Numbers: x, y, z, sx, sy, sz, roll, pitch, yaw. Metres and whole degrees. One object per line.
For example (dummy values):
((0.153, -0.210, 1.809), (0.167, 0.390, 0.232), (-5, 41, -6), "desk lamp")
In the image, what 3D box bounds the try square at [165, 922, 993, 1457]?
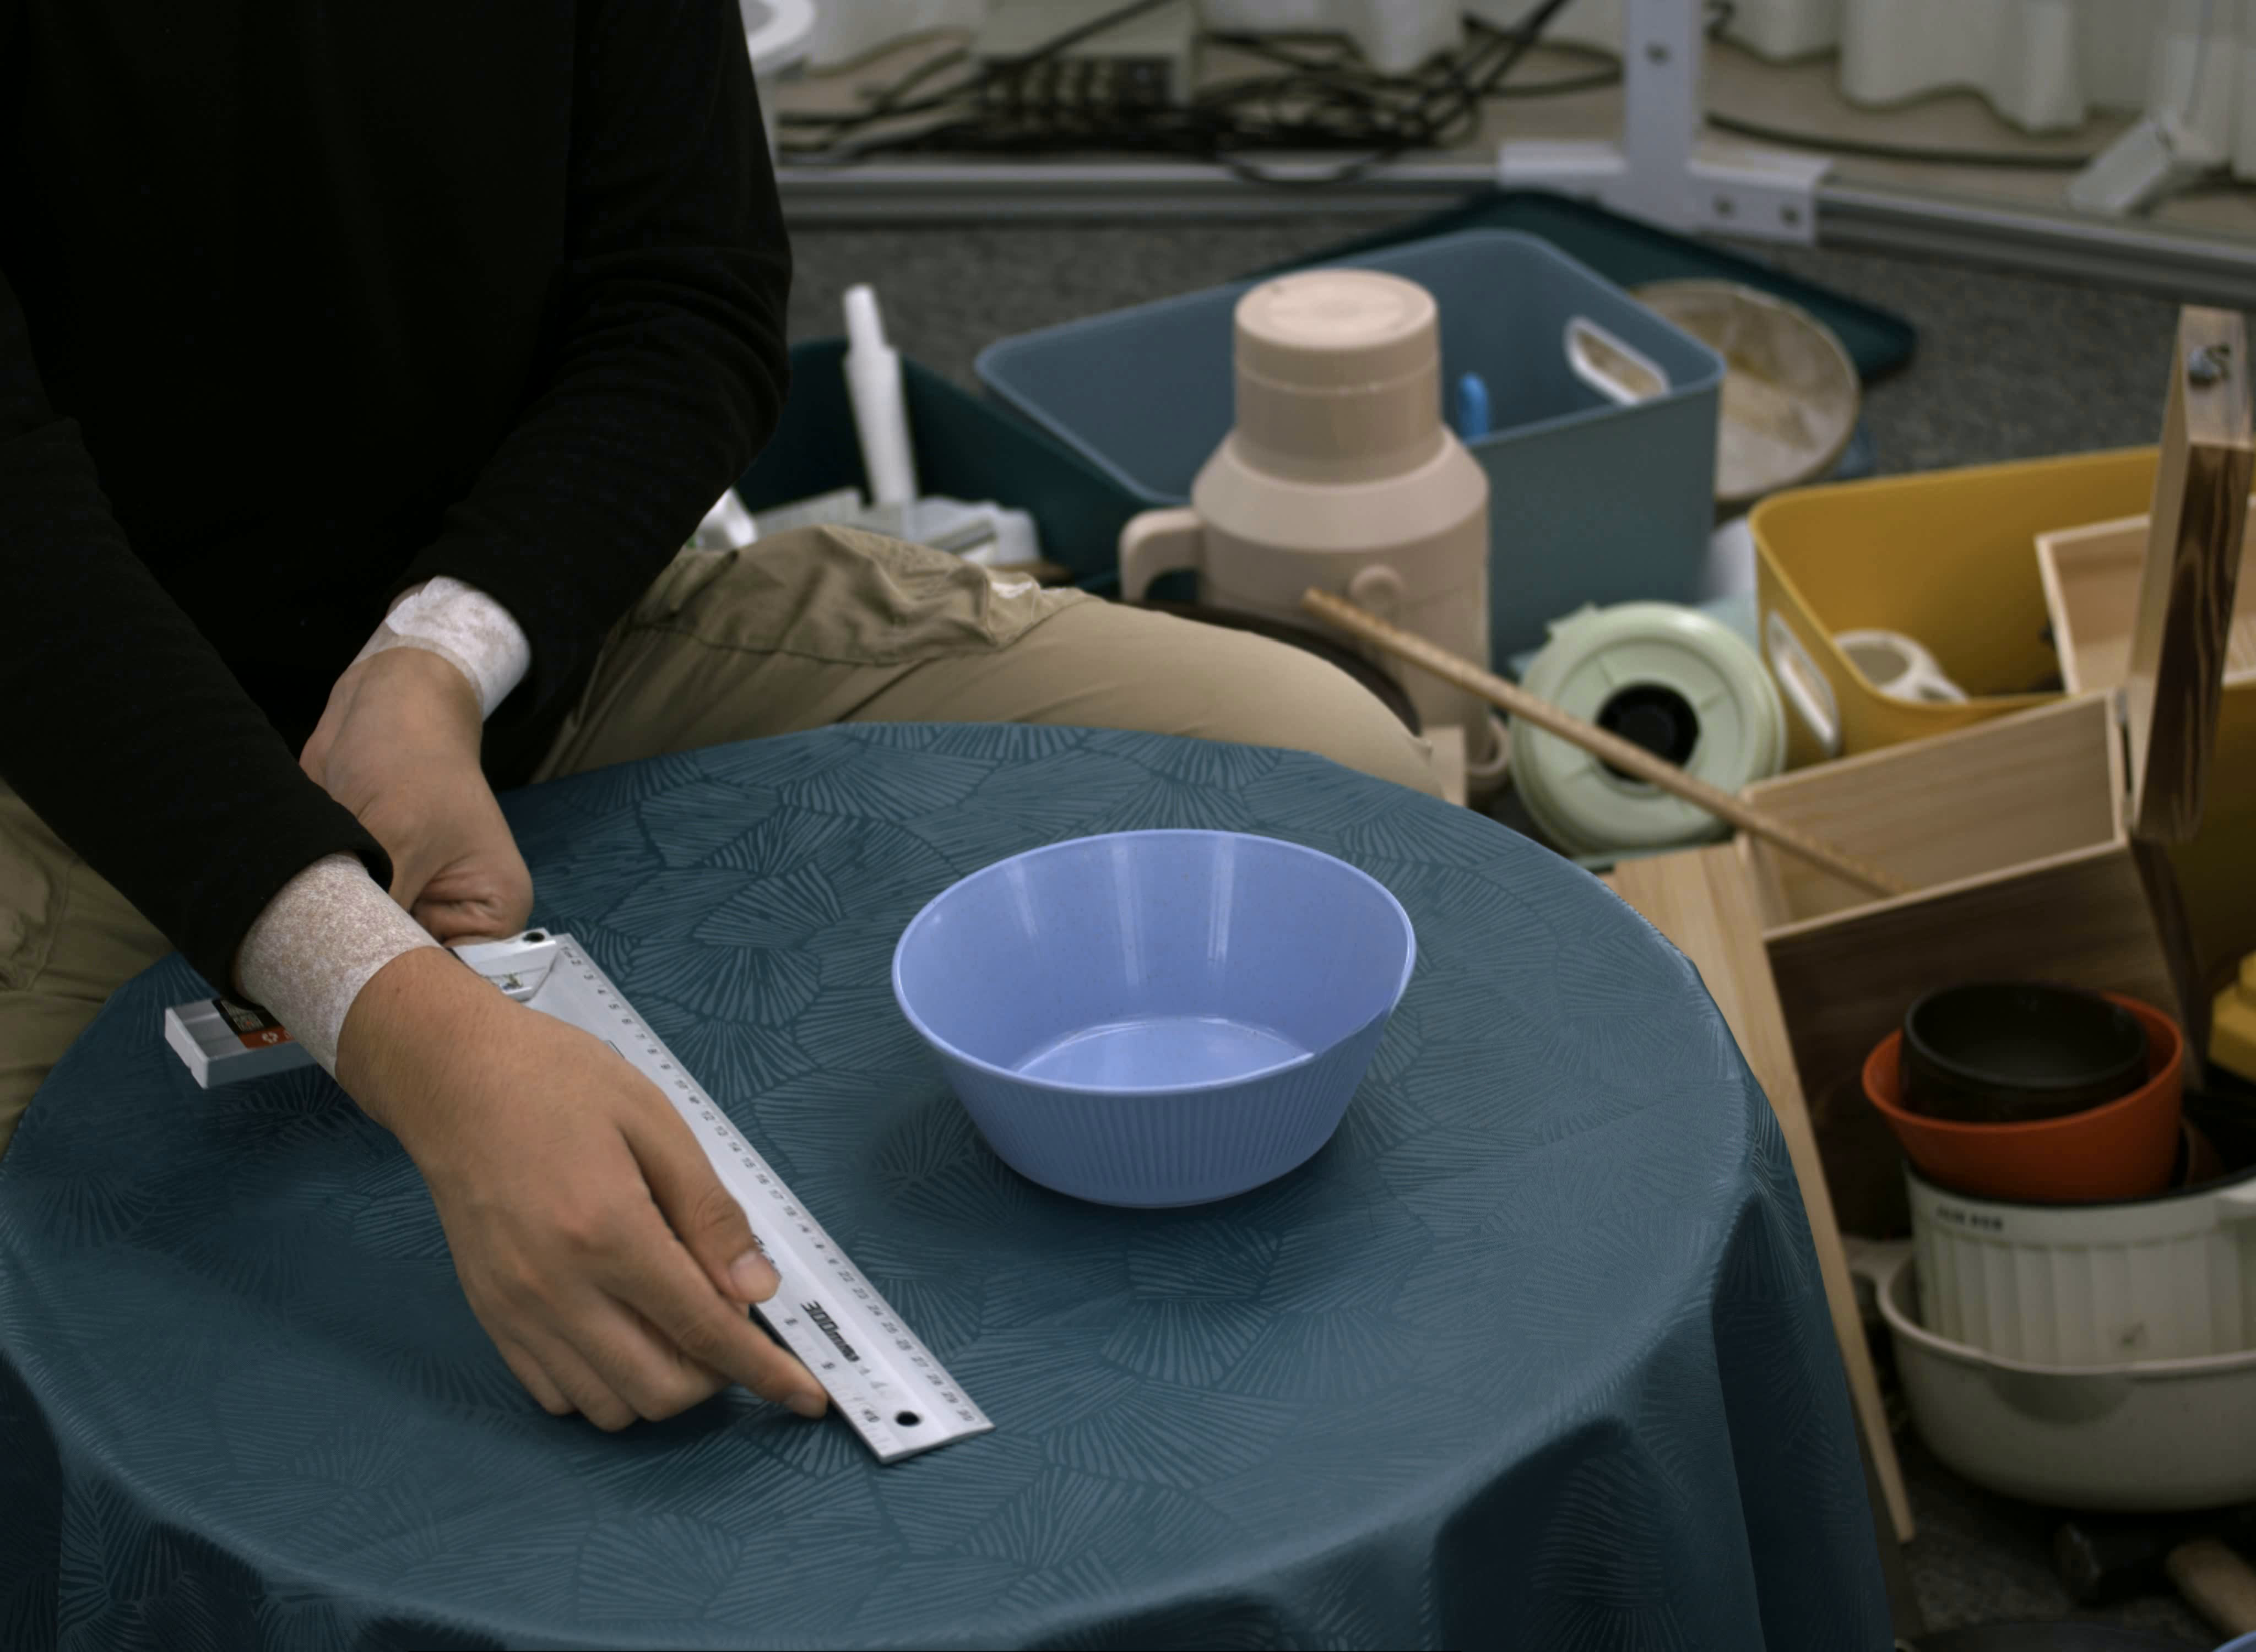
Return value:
((-0.184, 0.127, 1.818), (0.153, 0.015, 0.315), (-14, 36, -26), "try square")

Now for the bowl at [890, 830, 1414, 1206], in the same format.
((0.009, 0.070, 1.885), (0.175, 0.069, 0.179), (-2, 28, 2), "bowl")
